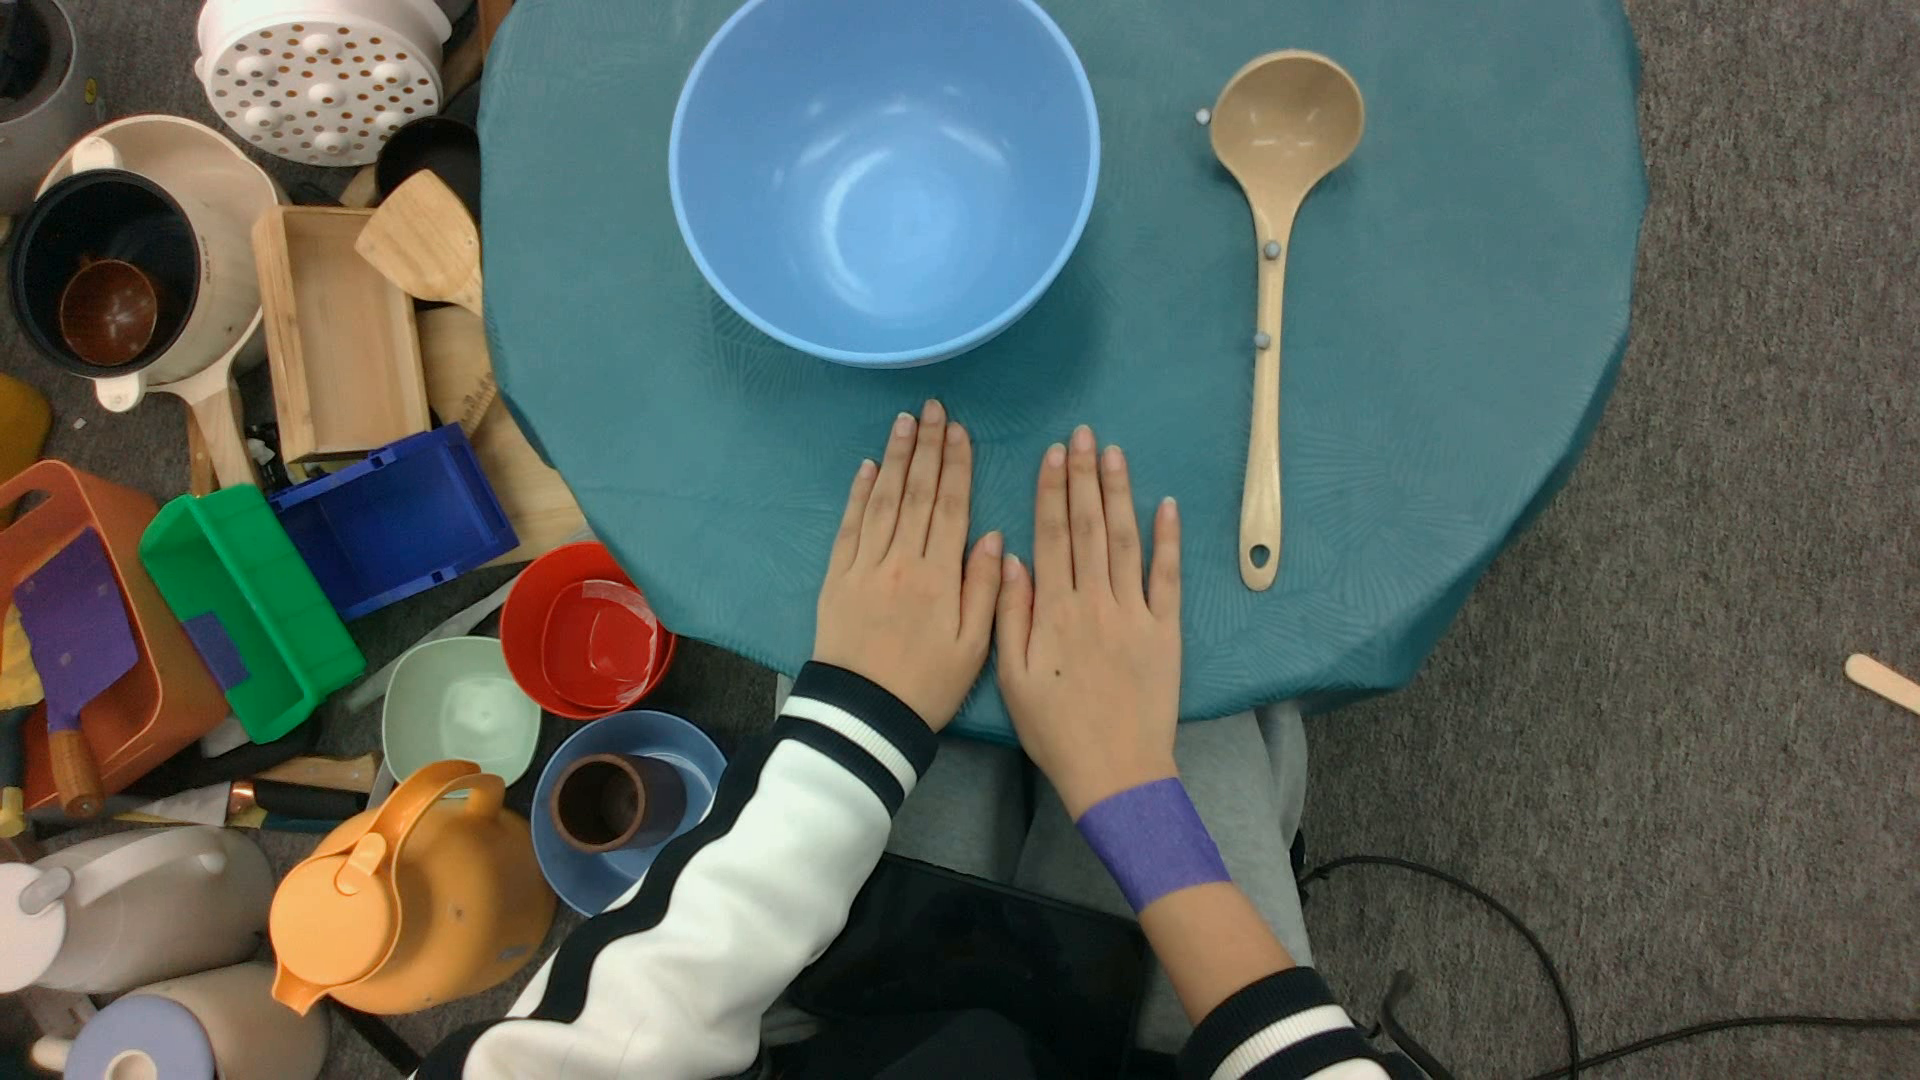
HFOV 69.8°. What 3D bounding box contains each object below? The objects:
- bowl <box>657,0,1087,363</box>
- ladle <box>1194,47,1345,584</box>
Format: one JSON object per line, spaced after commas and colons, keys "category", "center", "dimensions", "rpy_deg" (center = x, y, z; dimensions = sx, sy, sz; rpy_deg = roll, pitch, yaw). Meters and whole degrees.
{"category": "bowl", "center": [-0.039, -0.171, 0.671], "dimensions": [0.196, 0.095, 0.197], "rpy_deg": [0, 81, 2]}
{"category": "ladle", "center": [0.147, -0.109, 0.657], "dimensions": [0.072, 0.073, 0.255], "rpy_deg": [2, 80, 5]}
